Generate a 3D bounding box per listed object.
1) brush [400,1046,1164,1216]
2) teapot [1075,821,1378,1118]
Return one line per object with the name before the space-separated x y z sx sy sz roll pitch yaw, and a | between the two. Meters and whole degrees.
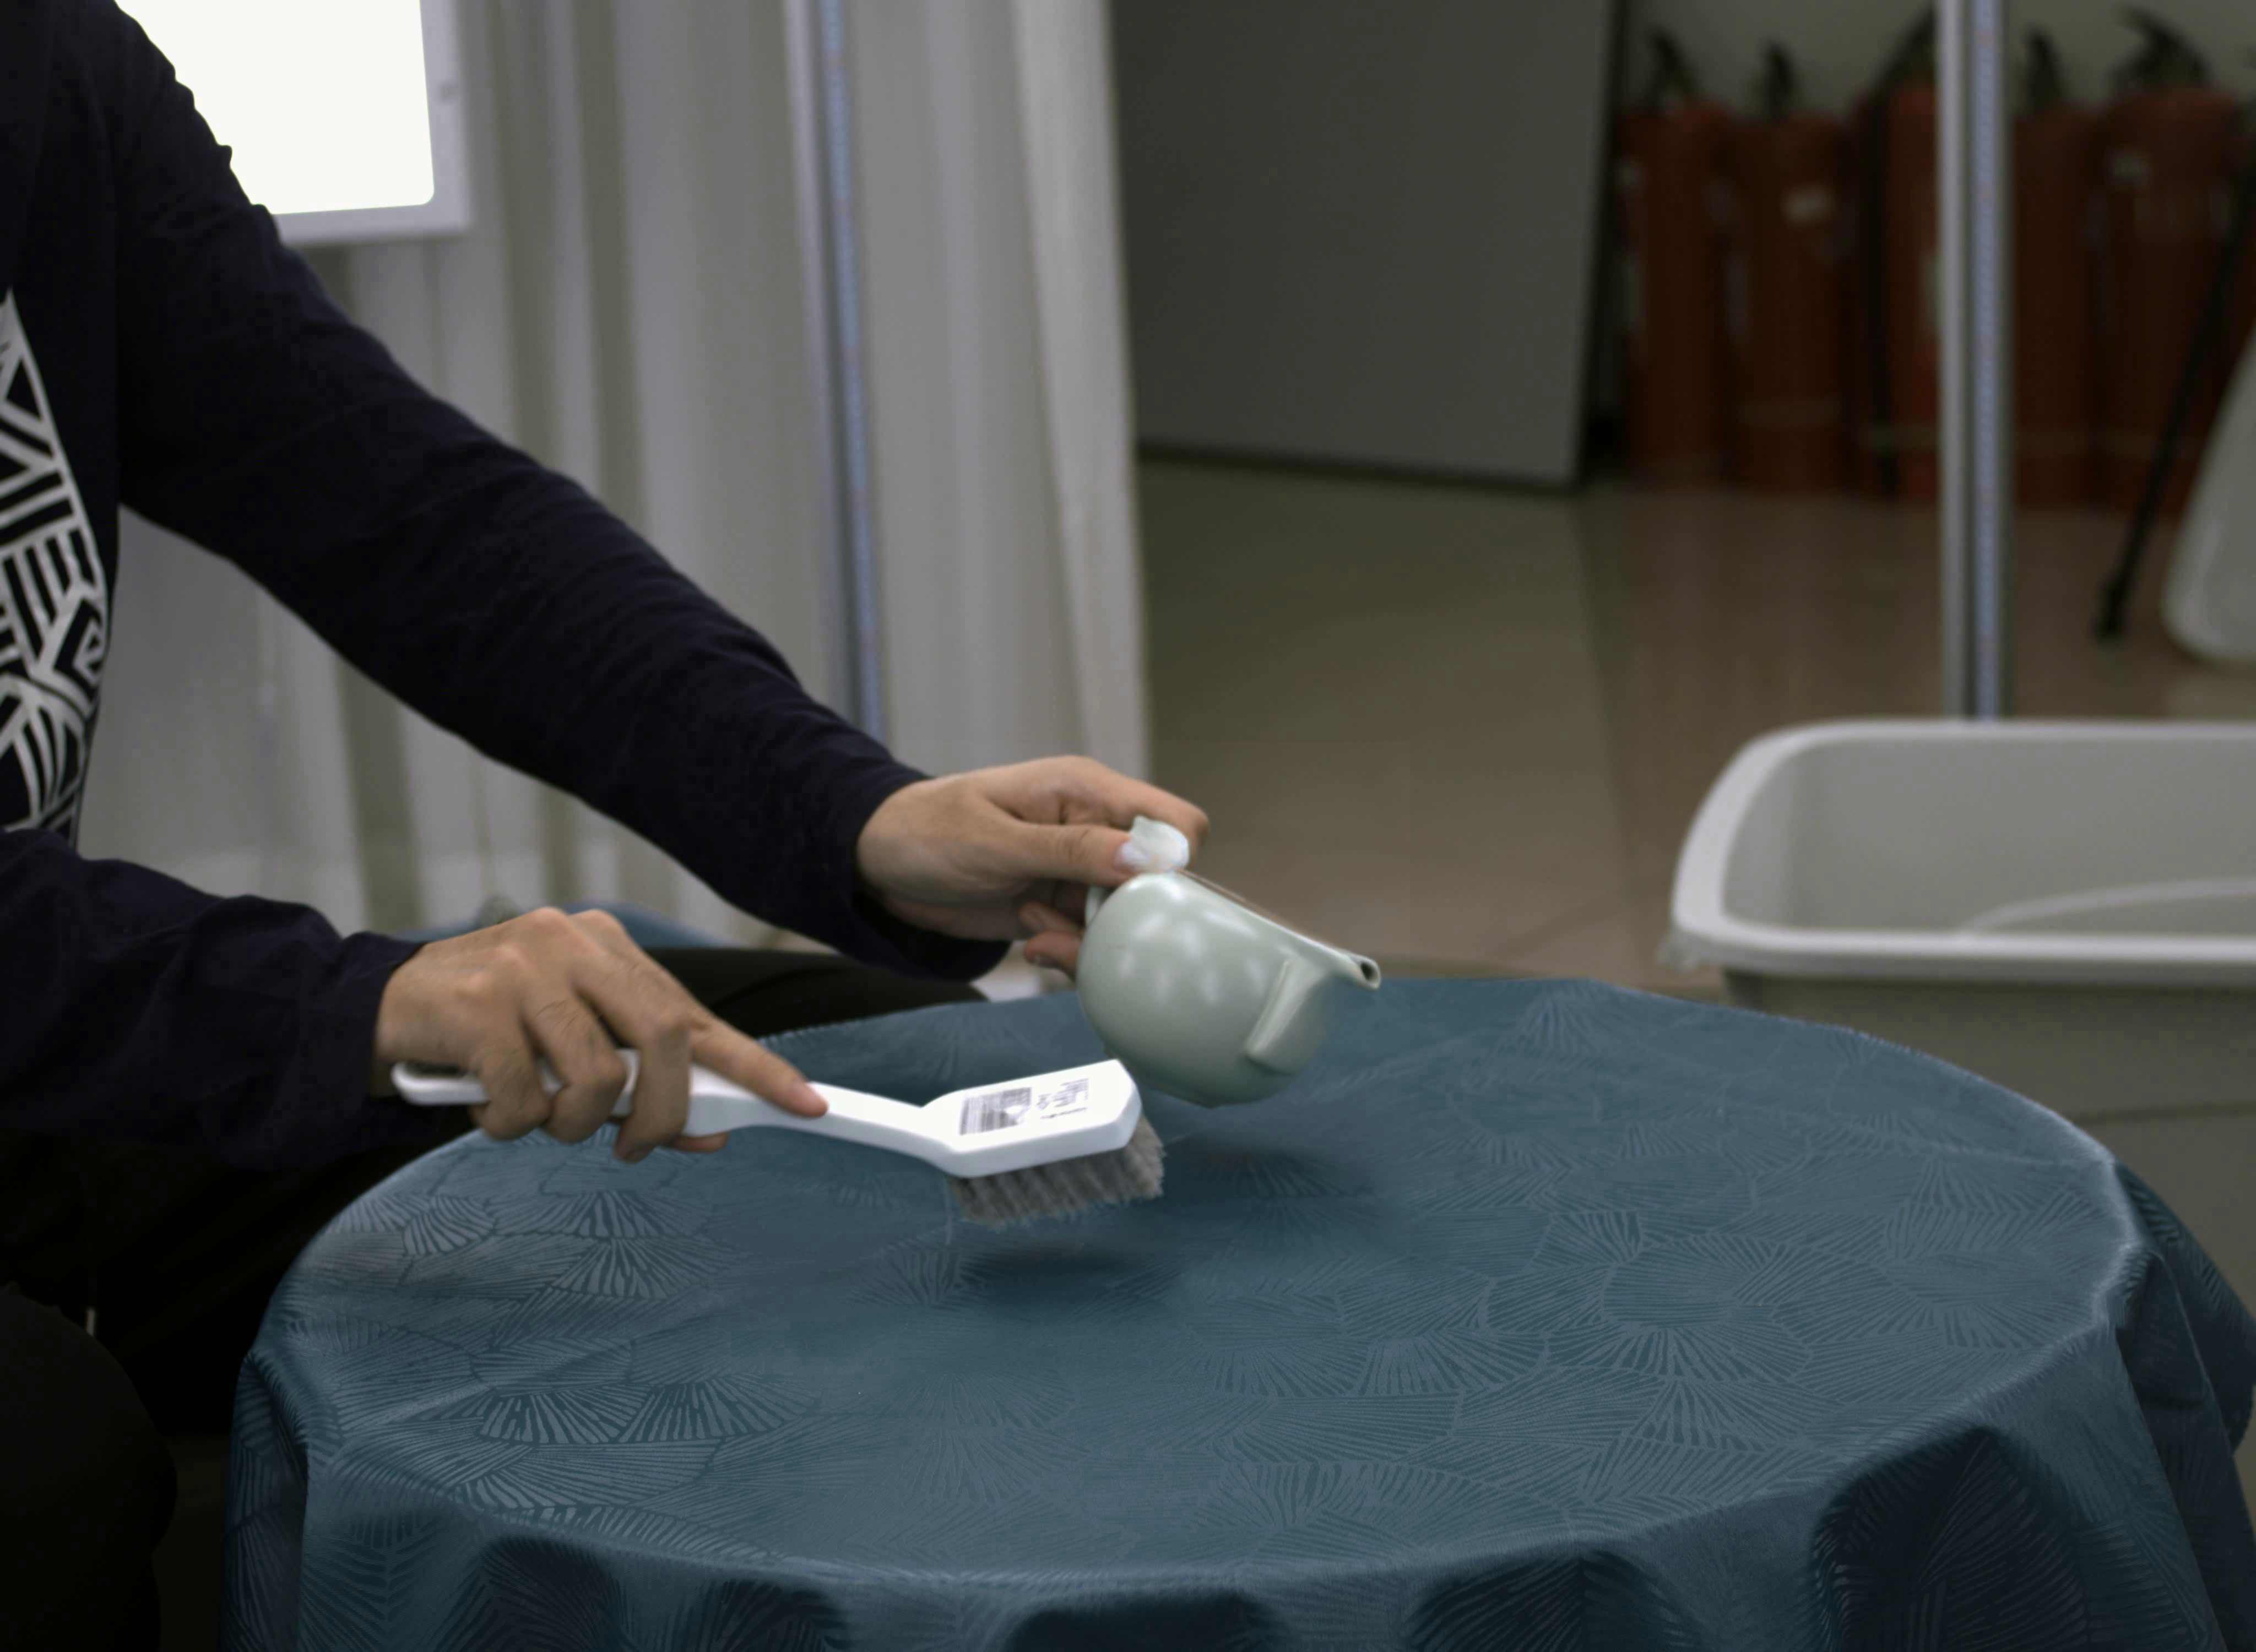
brush | -0.108 0.096 1.701 0.240 0.050 0.034 1 36 -4
teapot | 0.026 0.054 1.787 0.086 0.075 0.145 24 6 -37
